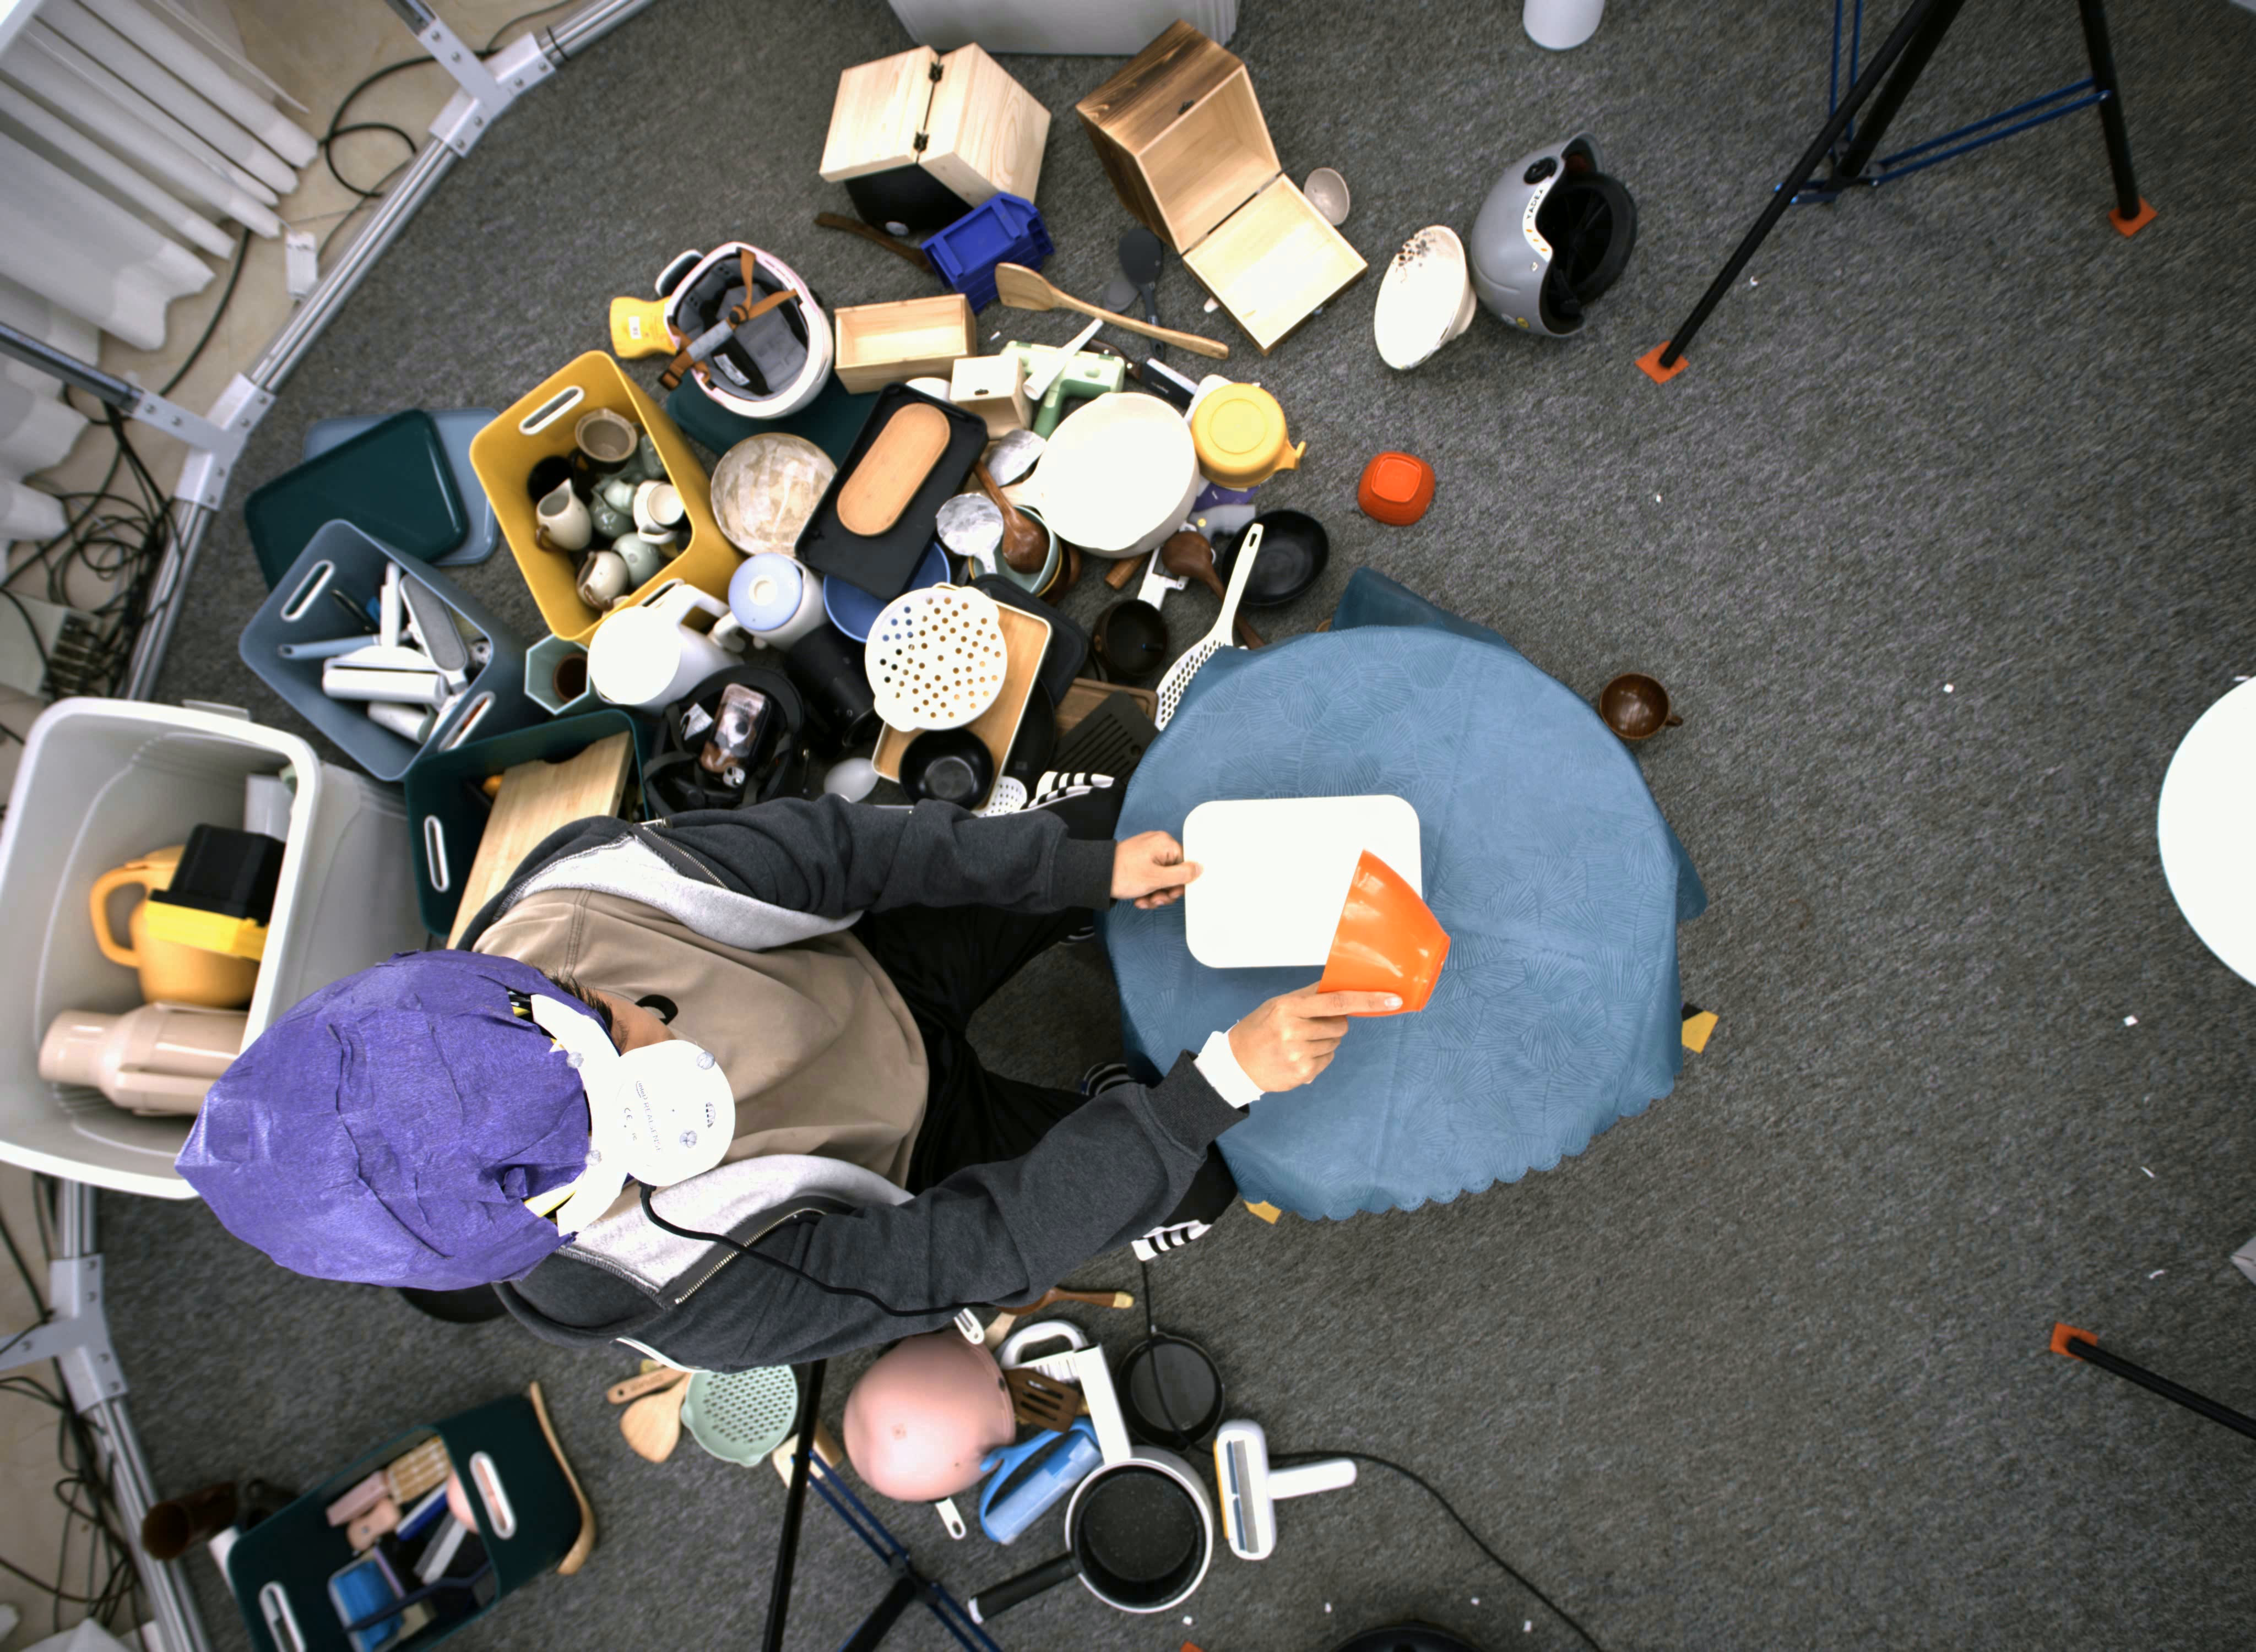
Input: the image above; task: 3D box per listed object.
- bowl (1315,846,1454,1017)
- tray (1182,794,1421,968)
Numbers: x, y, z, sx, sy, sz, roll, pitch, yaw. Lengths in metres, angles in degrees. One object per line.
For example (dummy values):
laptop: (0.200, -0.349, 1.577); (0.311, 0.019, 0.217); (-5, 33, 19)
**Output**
bowl: (0.219, 0.101, 1.174); (0.104, 0.148, 0.148); (22, 89, 19)
tray: (0.176, 0.055, 1.405); (0.240, 0.017, 0.171); (-2, 88, 6)
